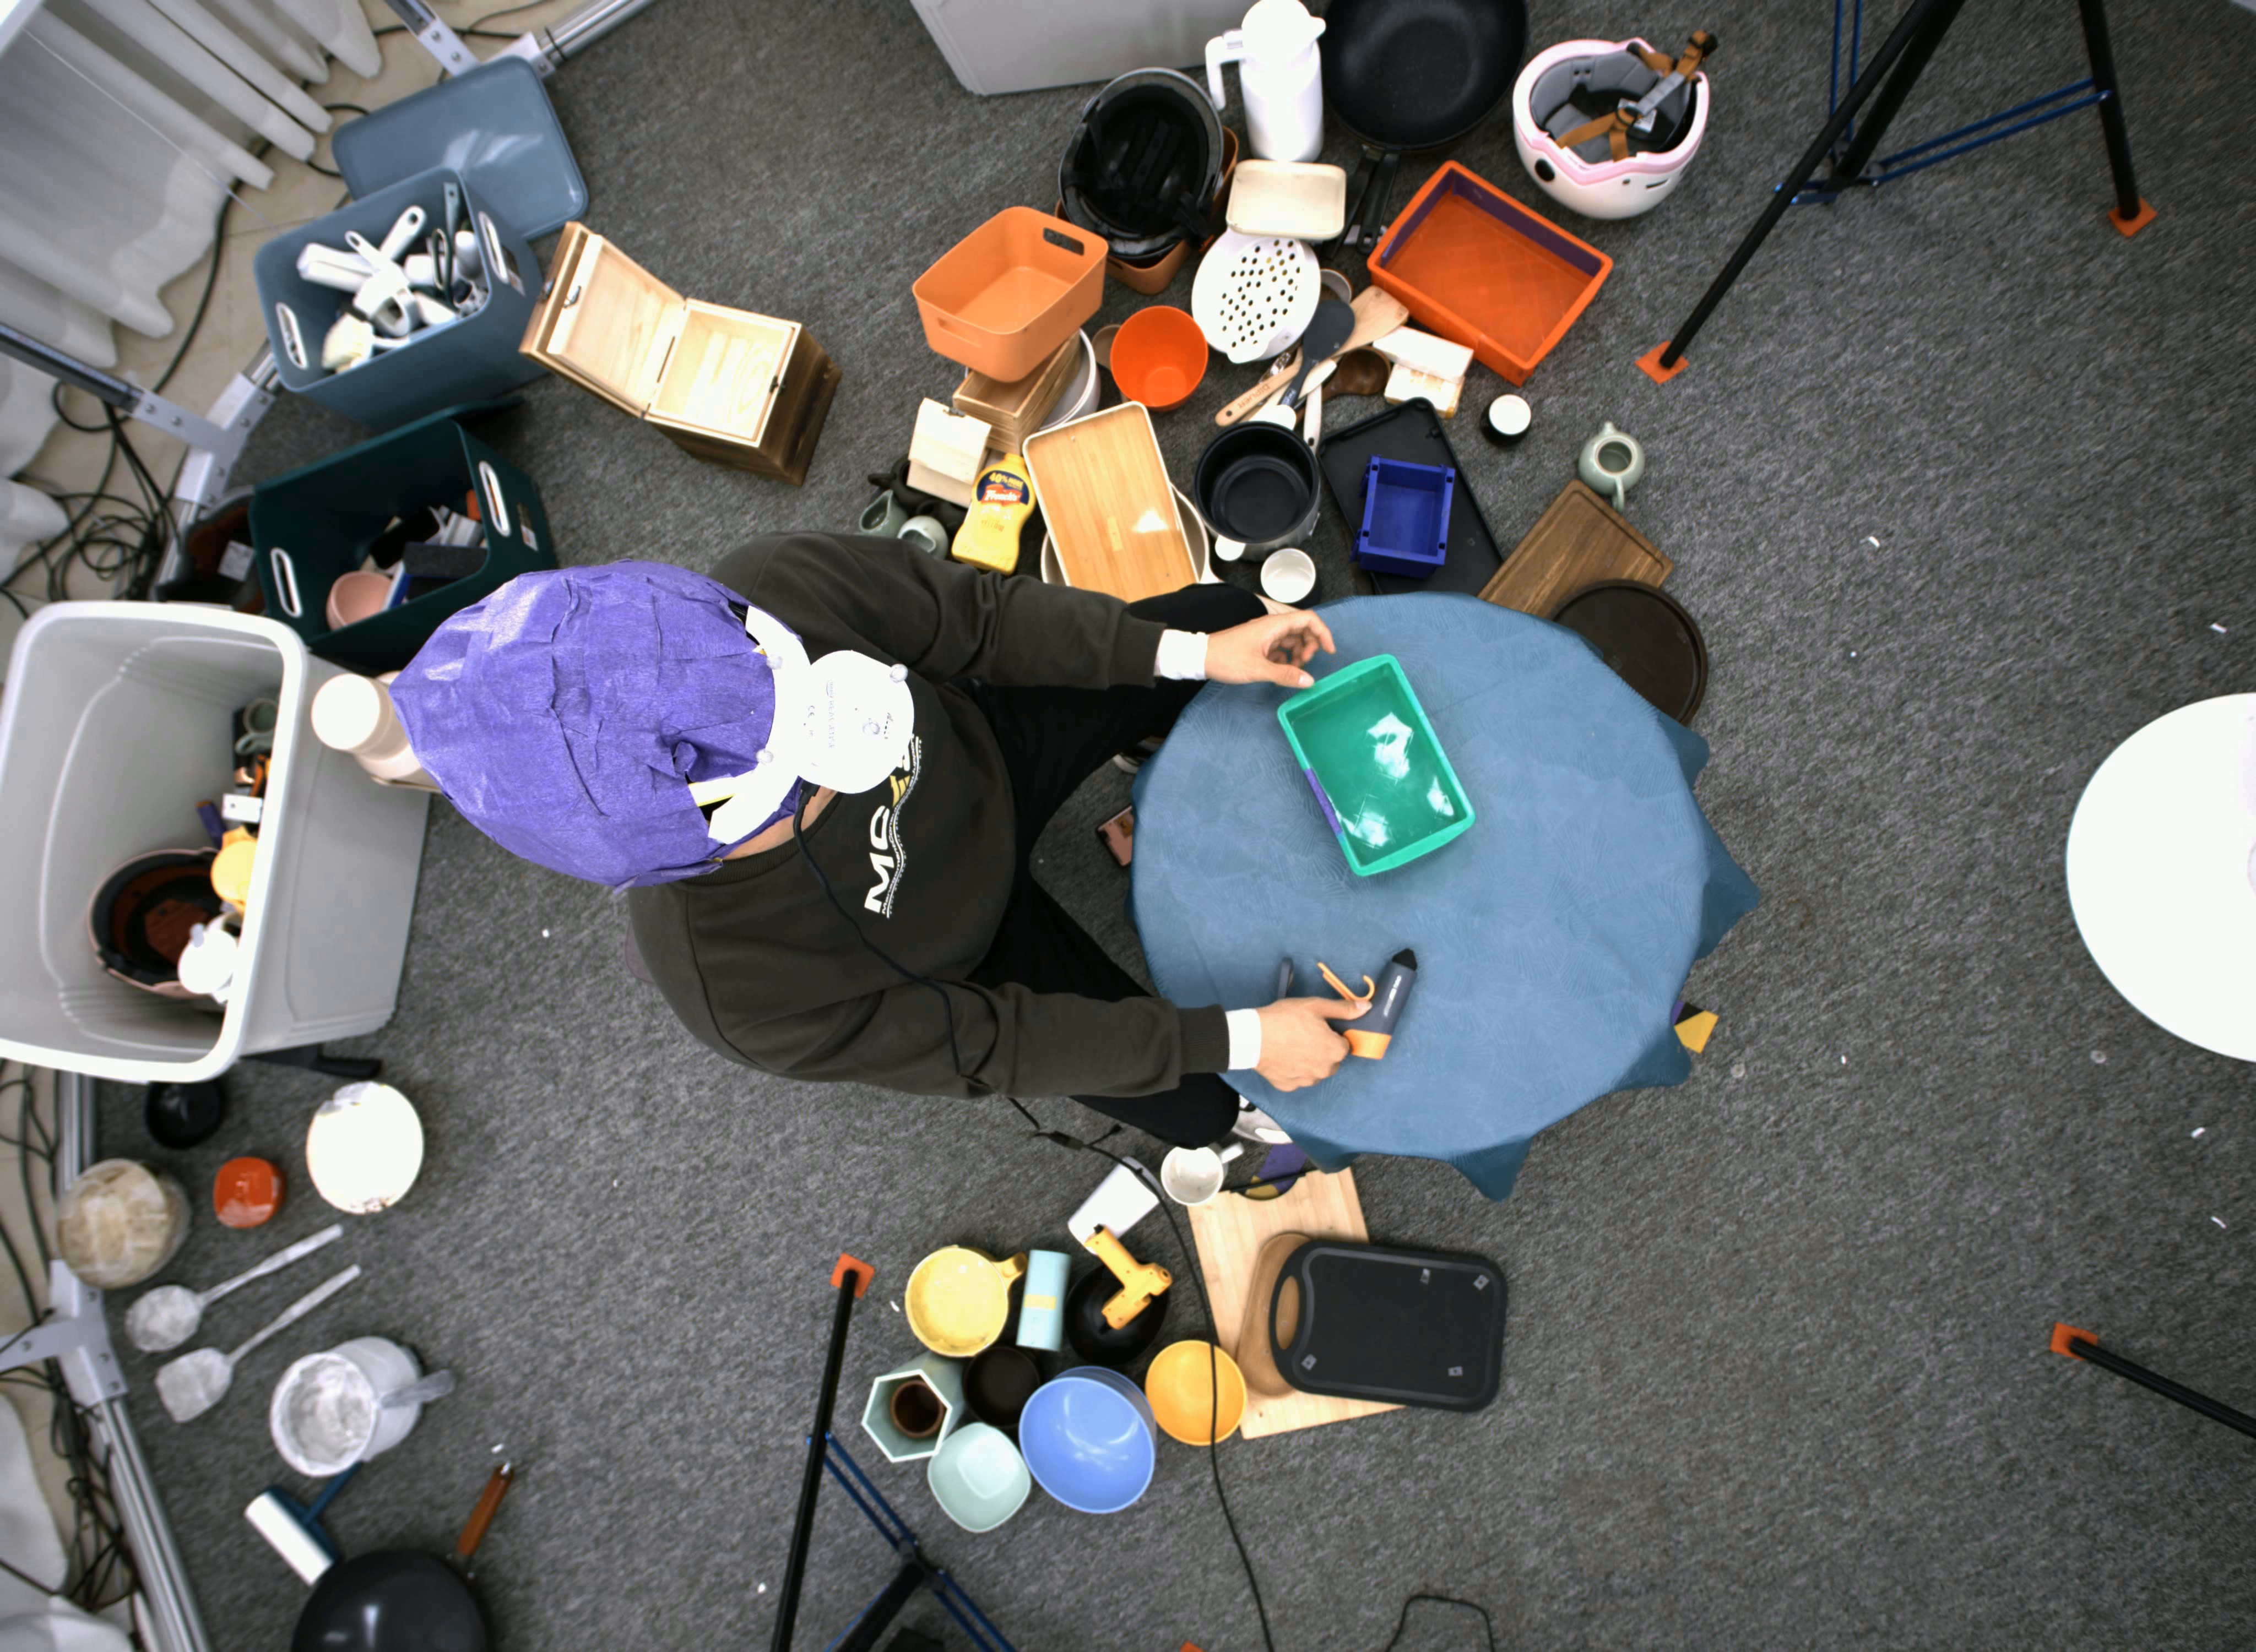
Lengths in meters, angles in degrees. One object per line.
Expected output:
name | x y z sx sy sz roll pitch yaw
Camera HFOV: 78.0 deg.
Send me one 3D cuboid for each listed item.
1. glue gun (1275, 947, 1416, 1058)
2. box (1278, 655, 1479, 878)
glue gun | 0.227 0.176 1.442 0.140 0.041 0.116 5 74 10
box | 0.260 -0.061 1.438 0.139 0.065 0.209 -28 84 8
